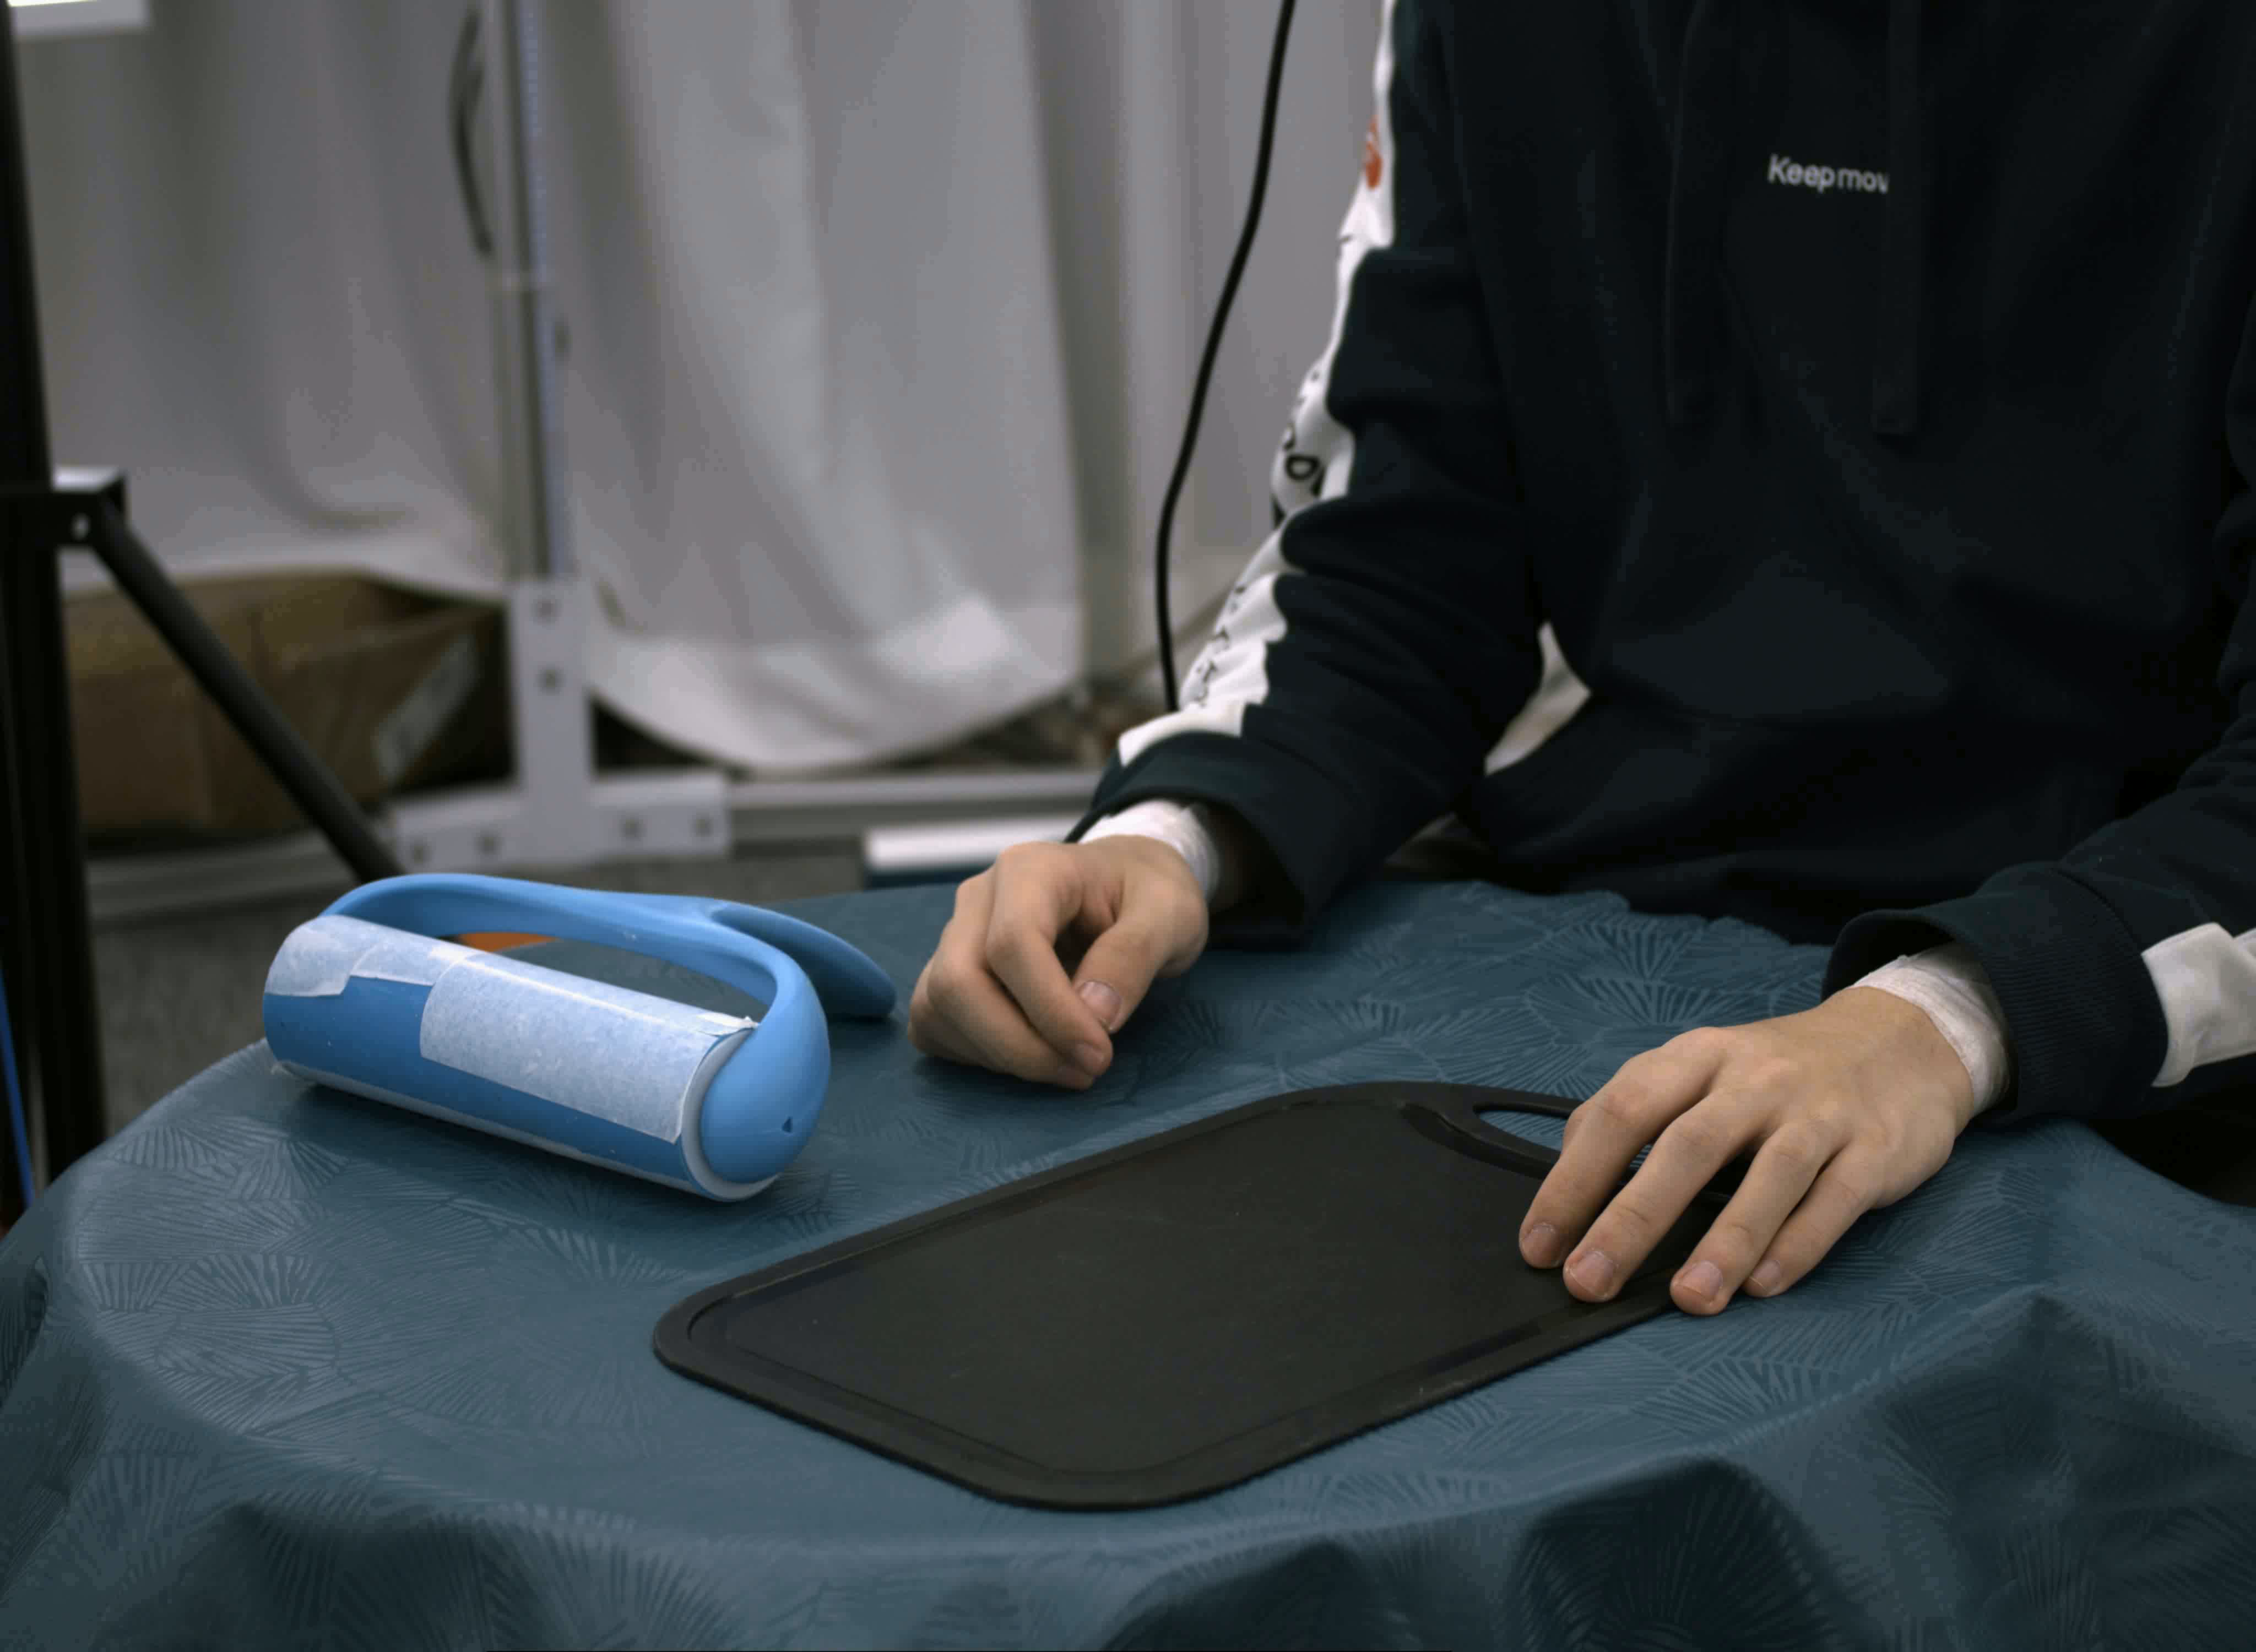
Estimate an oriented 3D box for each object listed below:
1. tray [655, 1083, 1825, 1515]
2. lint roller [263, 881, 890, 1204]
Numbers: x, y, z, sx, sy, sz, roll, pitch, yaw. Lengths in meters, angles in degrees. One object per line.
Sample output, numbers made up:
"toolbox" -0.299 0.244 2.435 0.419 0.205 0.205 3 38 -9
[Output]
"tray" 0.040 0.123 1.486 0.318 0.010 0.216 -16 20 -38
"lint roller" -0.145 0.054 1.668 0.234 0.068 0.176 9 21 41
